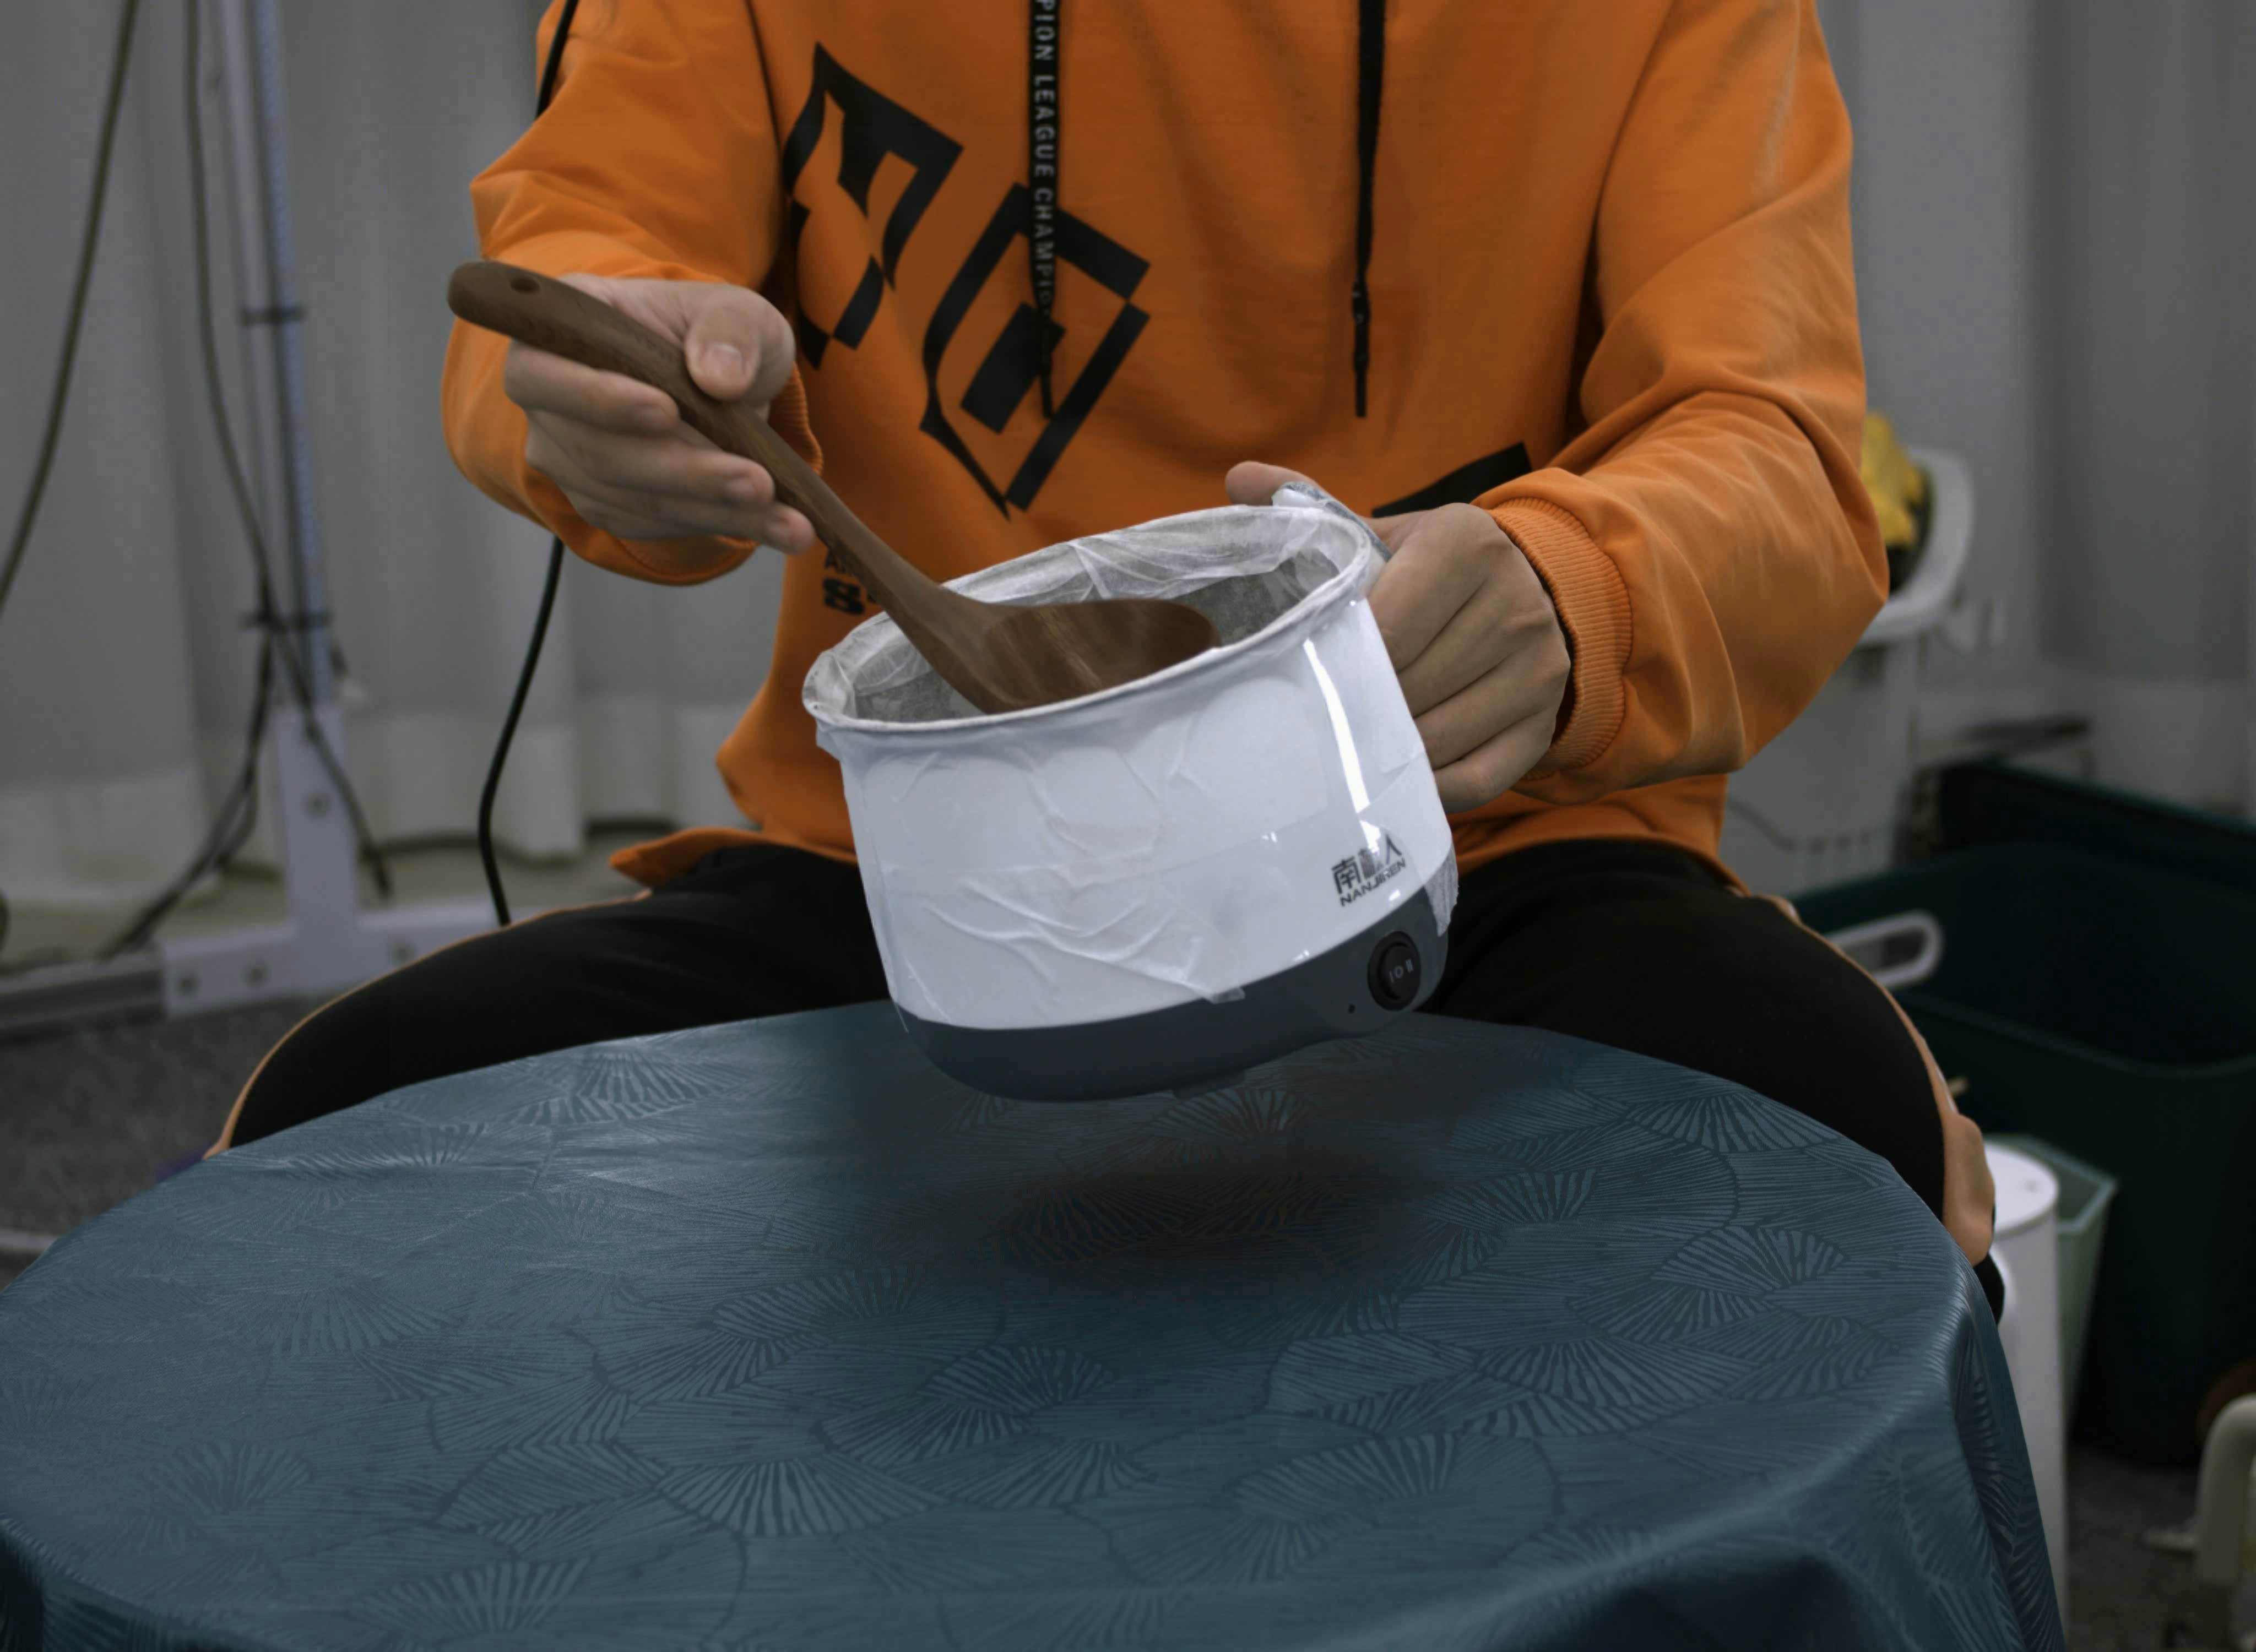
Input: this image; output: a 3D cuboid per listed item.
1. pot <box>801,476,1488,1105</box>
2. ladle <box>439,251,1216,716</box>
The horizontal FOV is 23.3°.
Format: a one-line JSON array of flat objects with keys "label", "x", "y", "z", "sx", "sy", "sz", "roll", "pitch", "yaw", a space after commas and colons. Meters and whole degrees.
[{"label": "pot", "x": 0.021, "y": -0.017, "z": 1.669, "sx": 0.179, "sy": 0.136, "sz": 0.234, "roll": 2, "pitch": 25, "yaw": 42}, {"label": "ladle", "x": -0.088, "y": -0.106, "z": 1.630, "sx": 0.260, "sy": 0.064, "sz": 0.077, "roll": 38, "pitch": 29, "yaw": 0}]
